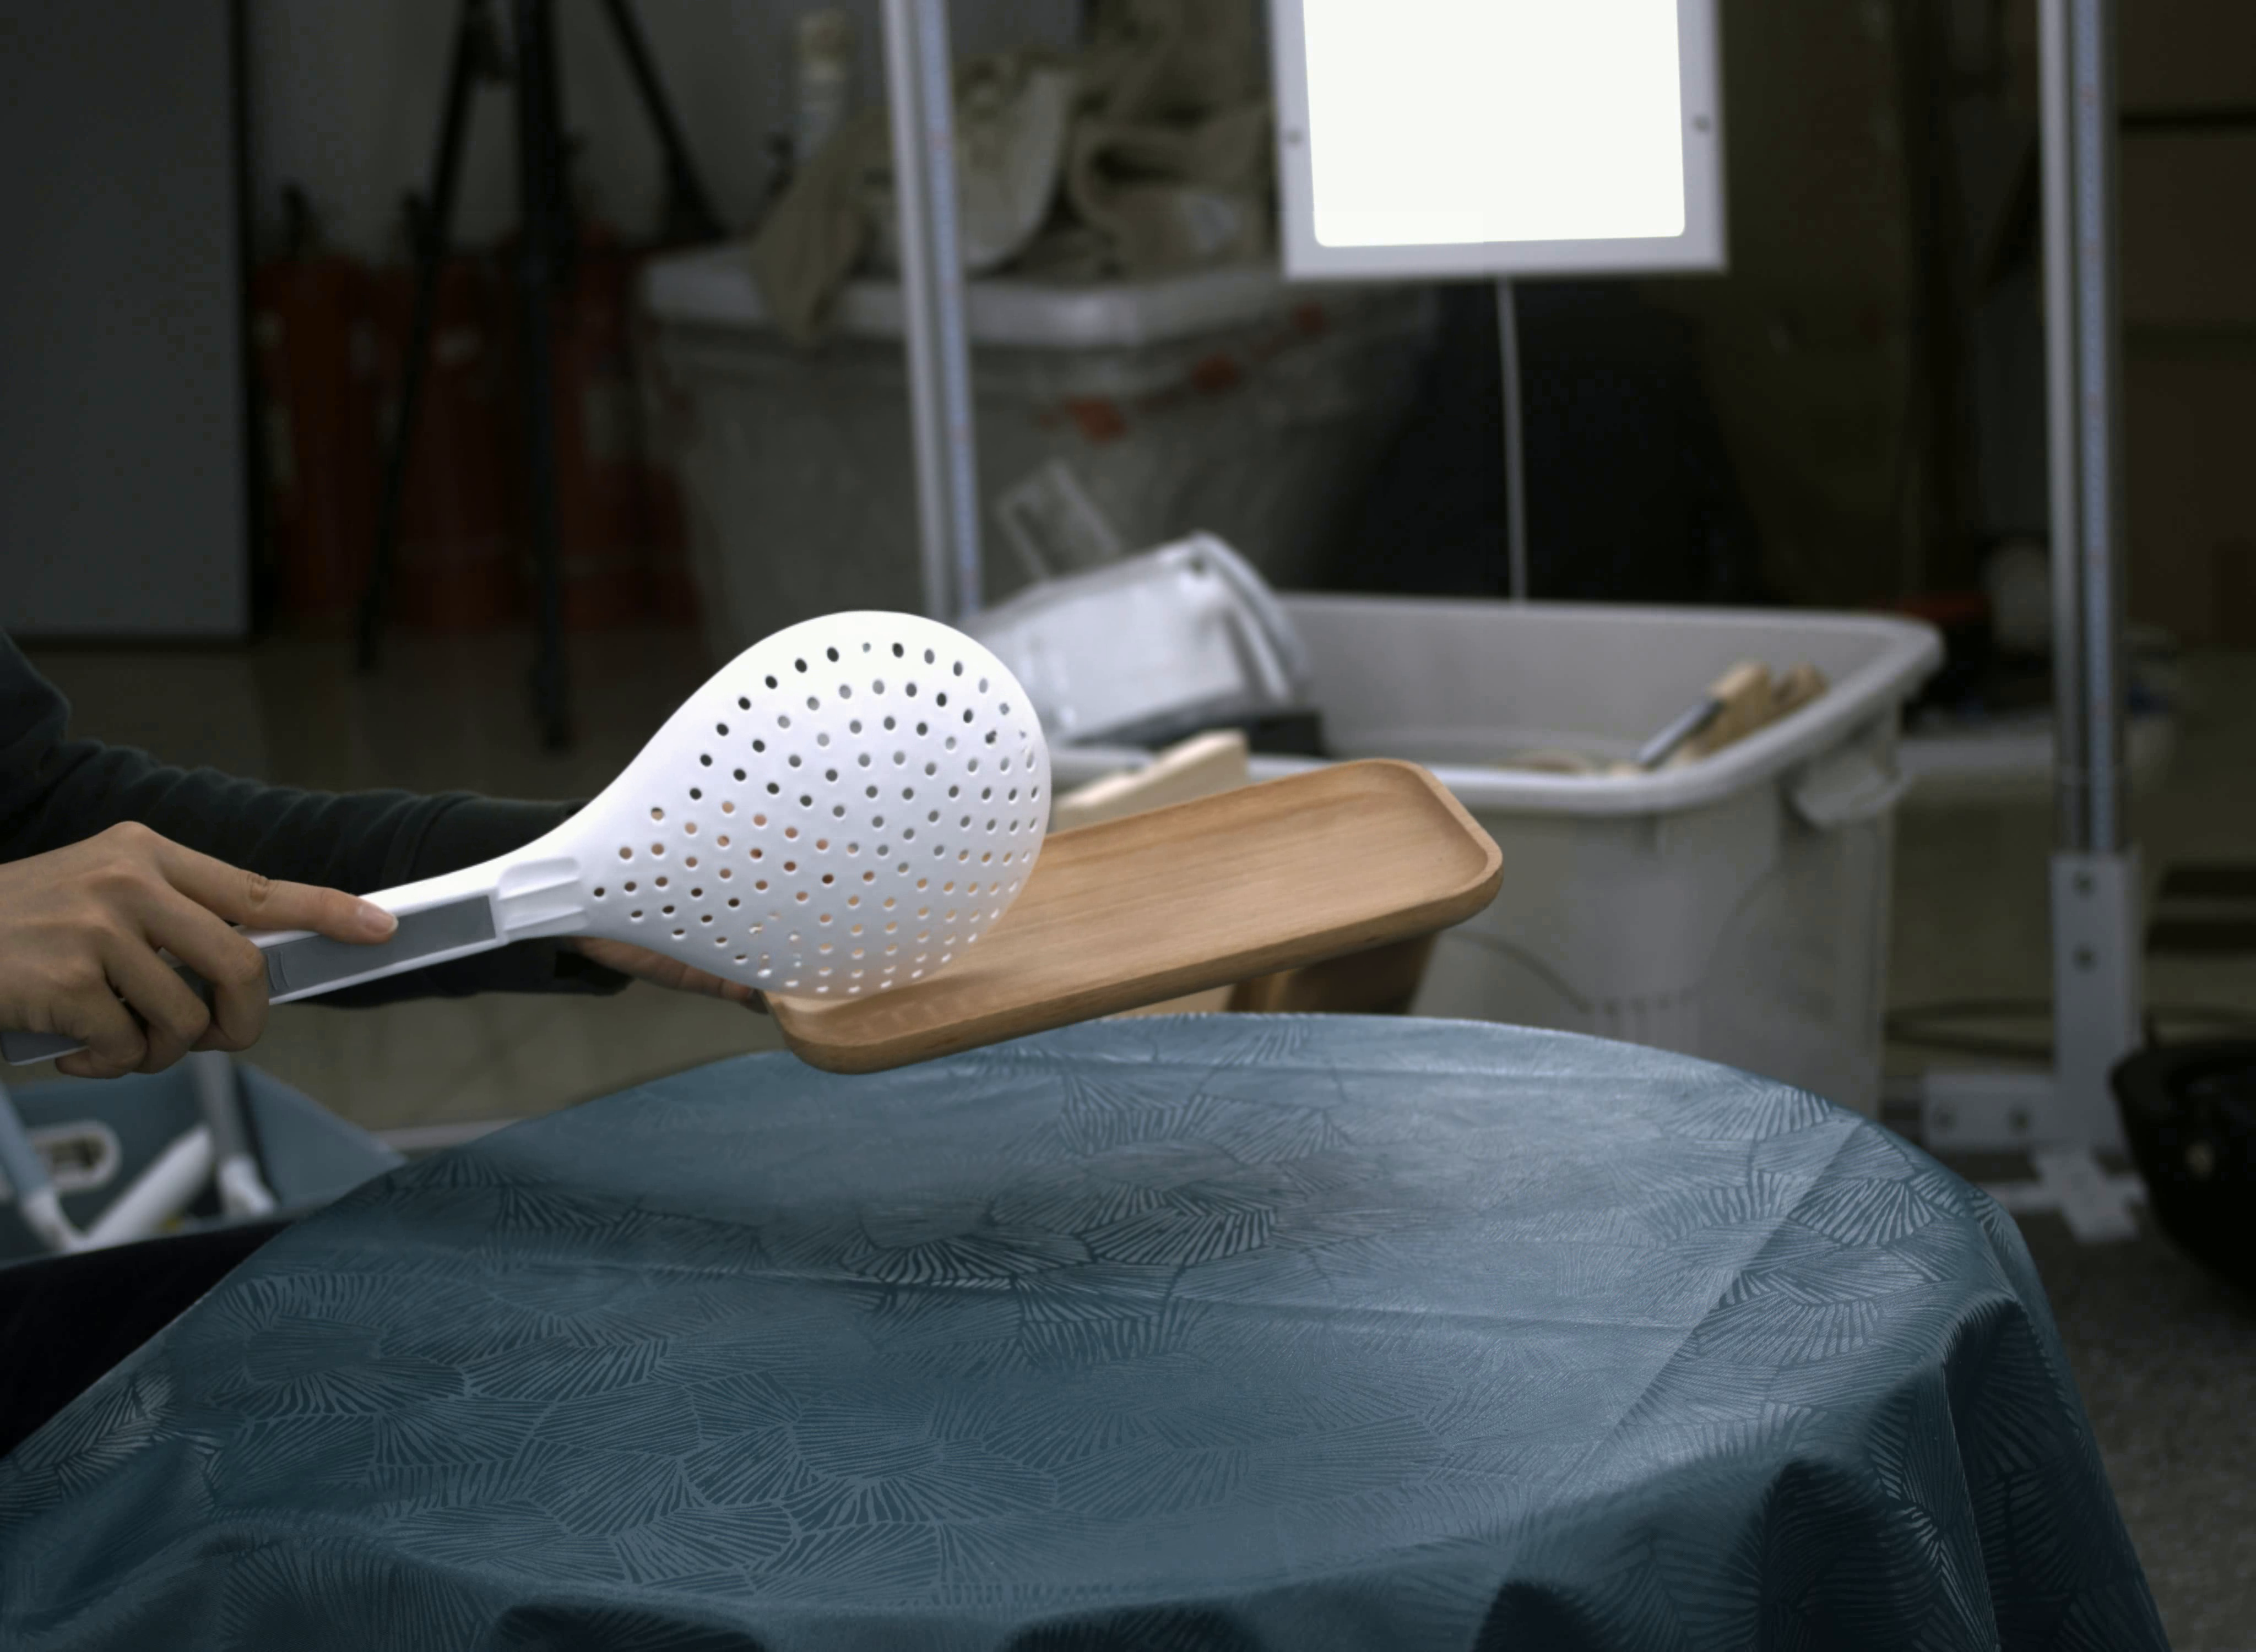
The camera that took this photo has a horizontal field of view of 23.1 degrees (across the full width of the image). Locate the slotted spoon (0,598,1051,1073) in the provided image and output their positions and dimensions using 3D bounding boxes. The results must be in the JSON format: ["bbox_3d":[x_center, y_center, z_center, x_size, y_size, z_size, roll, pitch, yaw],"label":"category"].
[{"bbox_3d":[-0.189,0.020,1.773,0.347,0.136,0.046,-13,23,-7],"label":"slotted spoon"}]

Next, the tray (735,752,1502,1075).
[{"bbox_3d":[-0.003,0.029,1.854,0.248,0.023,0.131,-15,22,-8],"label":"tray"}]
